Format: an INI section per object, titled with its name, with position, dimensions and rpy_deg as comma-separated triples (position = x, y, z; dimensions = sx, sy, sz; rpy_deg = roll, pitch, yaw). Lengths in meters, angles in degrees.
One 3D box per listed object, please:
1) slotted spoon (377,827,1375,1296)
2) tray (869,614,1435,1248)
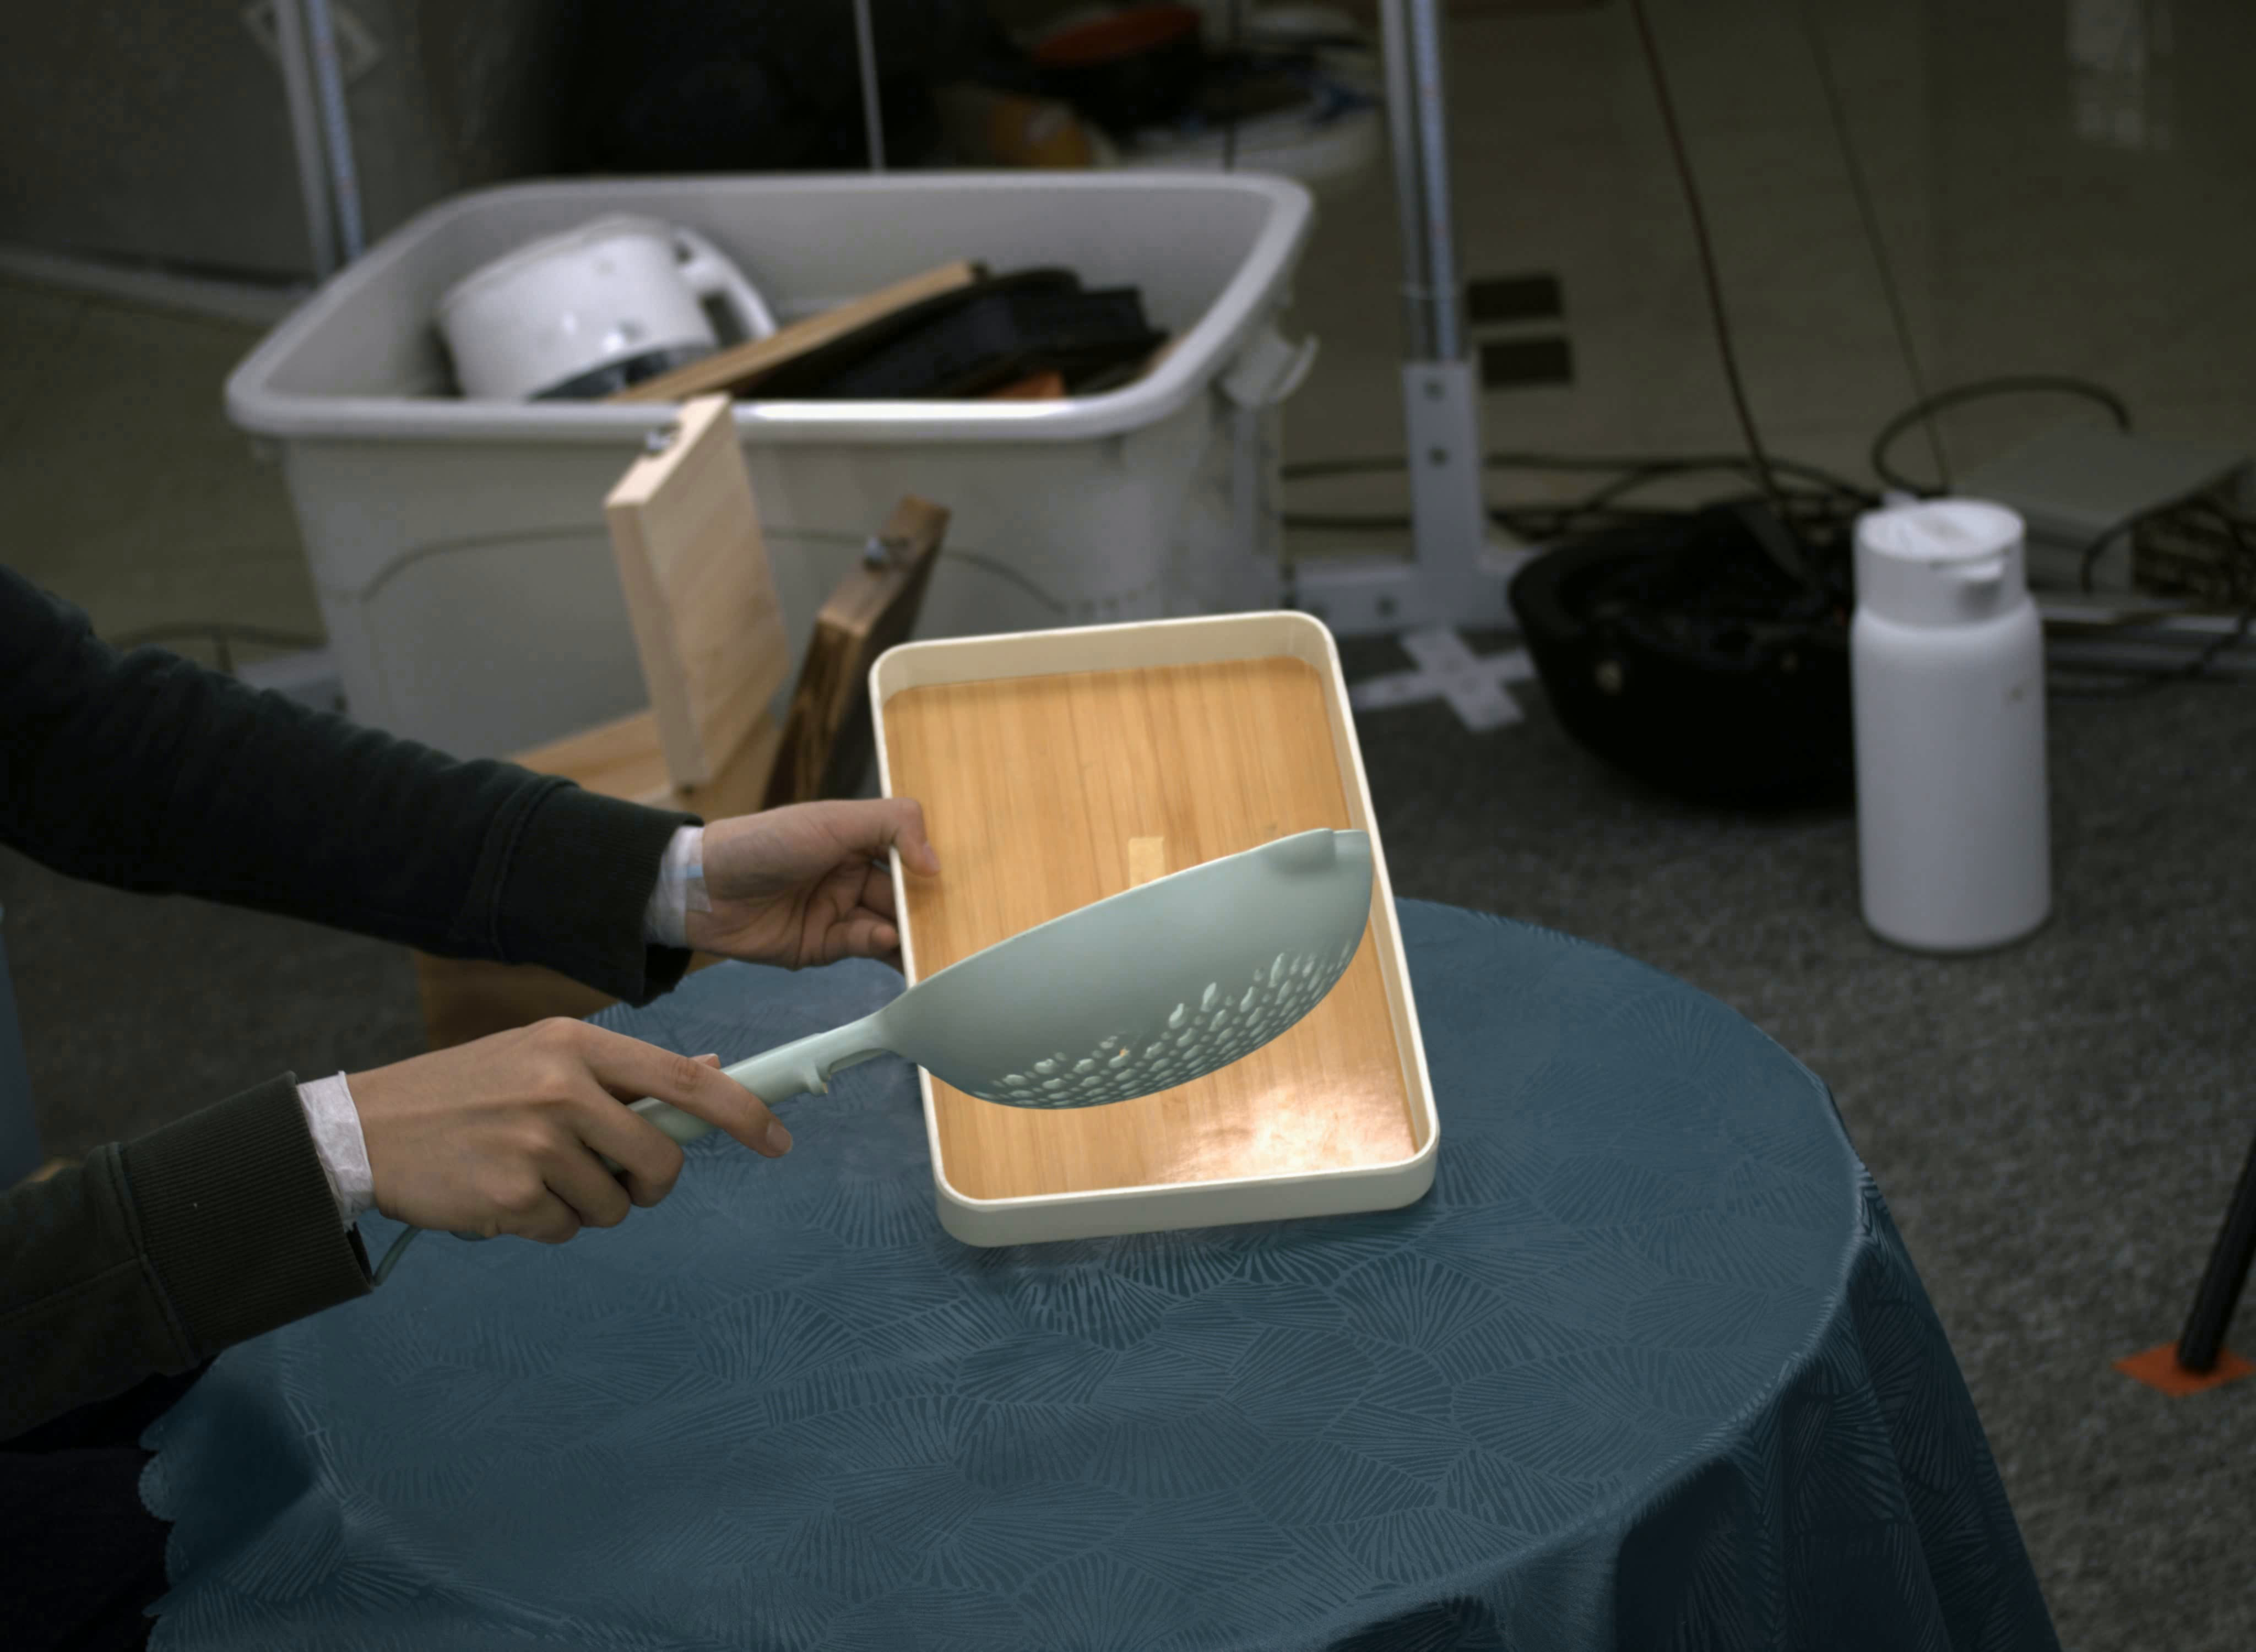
[slotted spoon]
position = -0.085, 0.079, 1.894
dimensions = 0.358, 0.075, 0.170
rpy_deg = -13, -8, 1
[tray]
position = 0.005, 0.036, 2.199
dimensions = 0.191, 0.028, 0.295
rpy_deg = -5, 47, -5
